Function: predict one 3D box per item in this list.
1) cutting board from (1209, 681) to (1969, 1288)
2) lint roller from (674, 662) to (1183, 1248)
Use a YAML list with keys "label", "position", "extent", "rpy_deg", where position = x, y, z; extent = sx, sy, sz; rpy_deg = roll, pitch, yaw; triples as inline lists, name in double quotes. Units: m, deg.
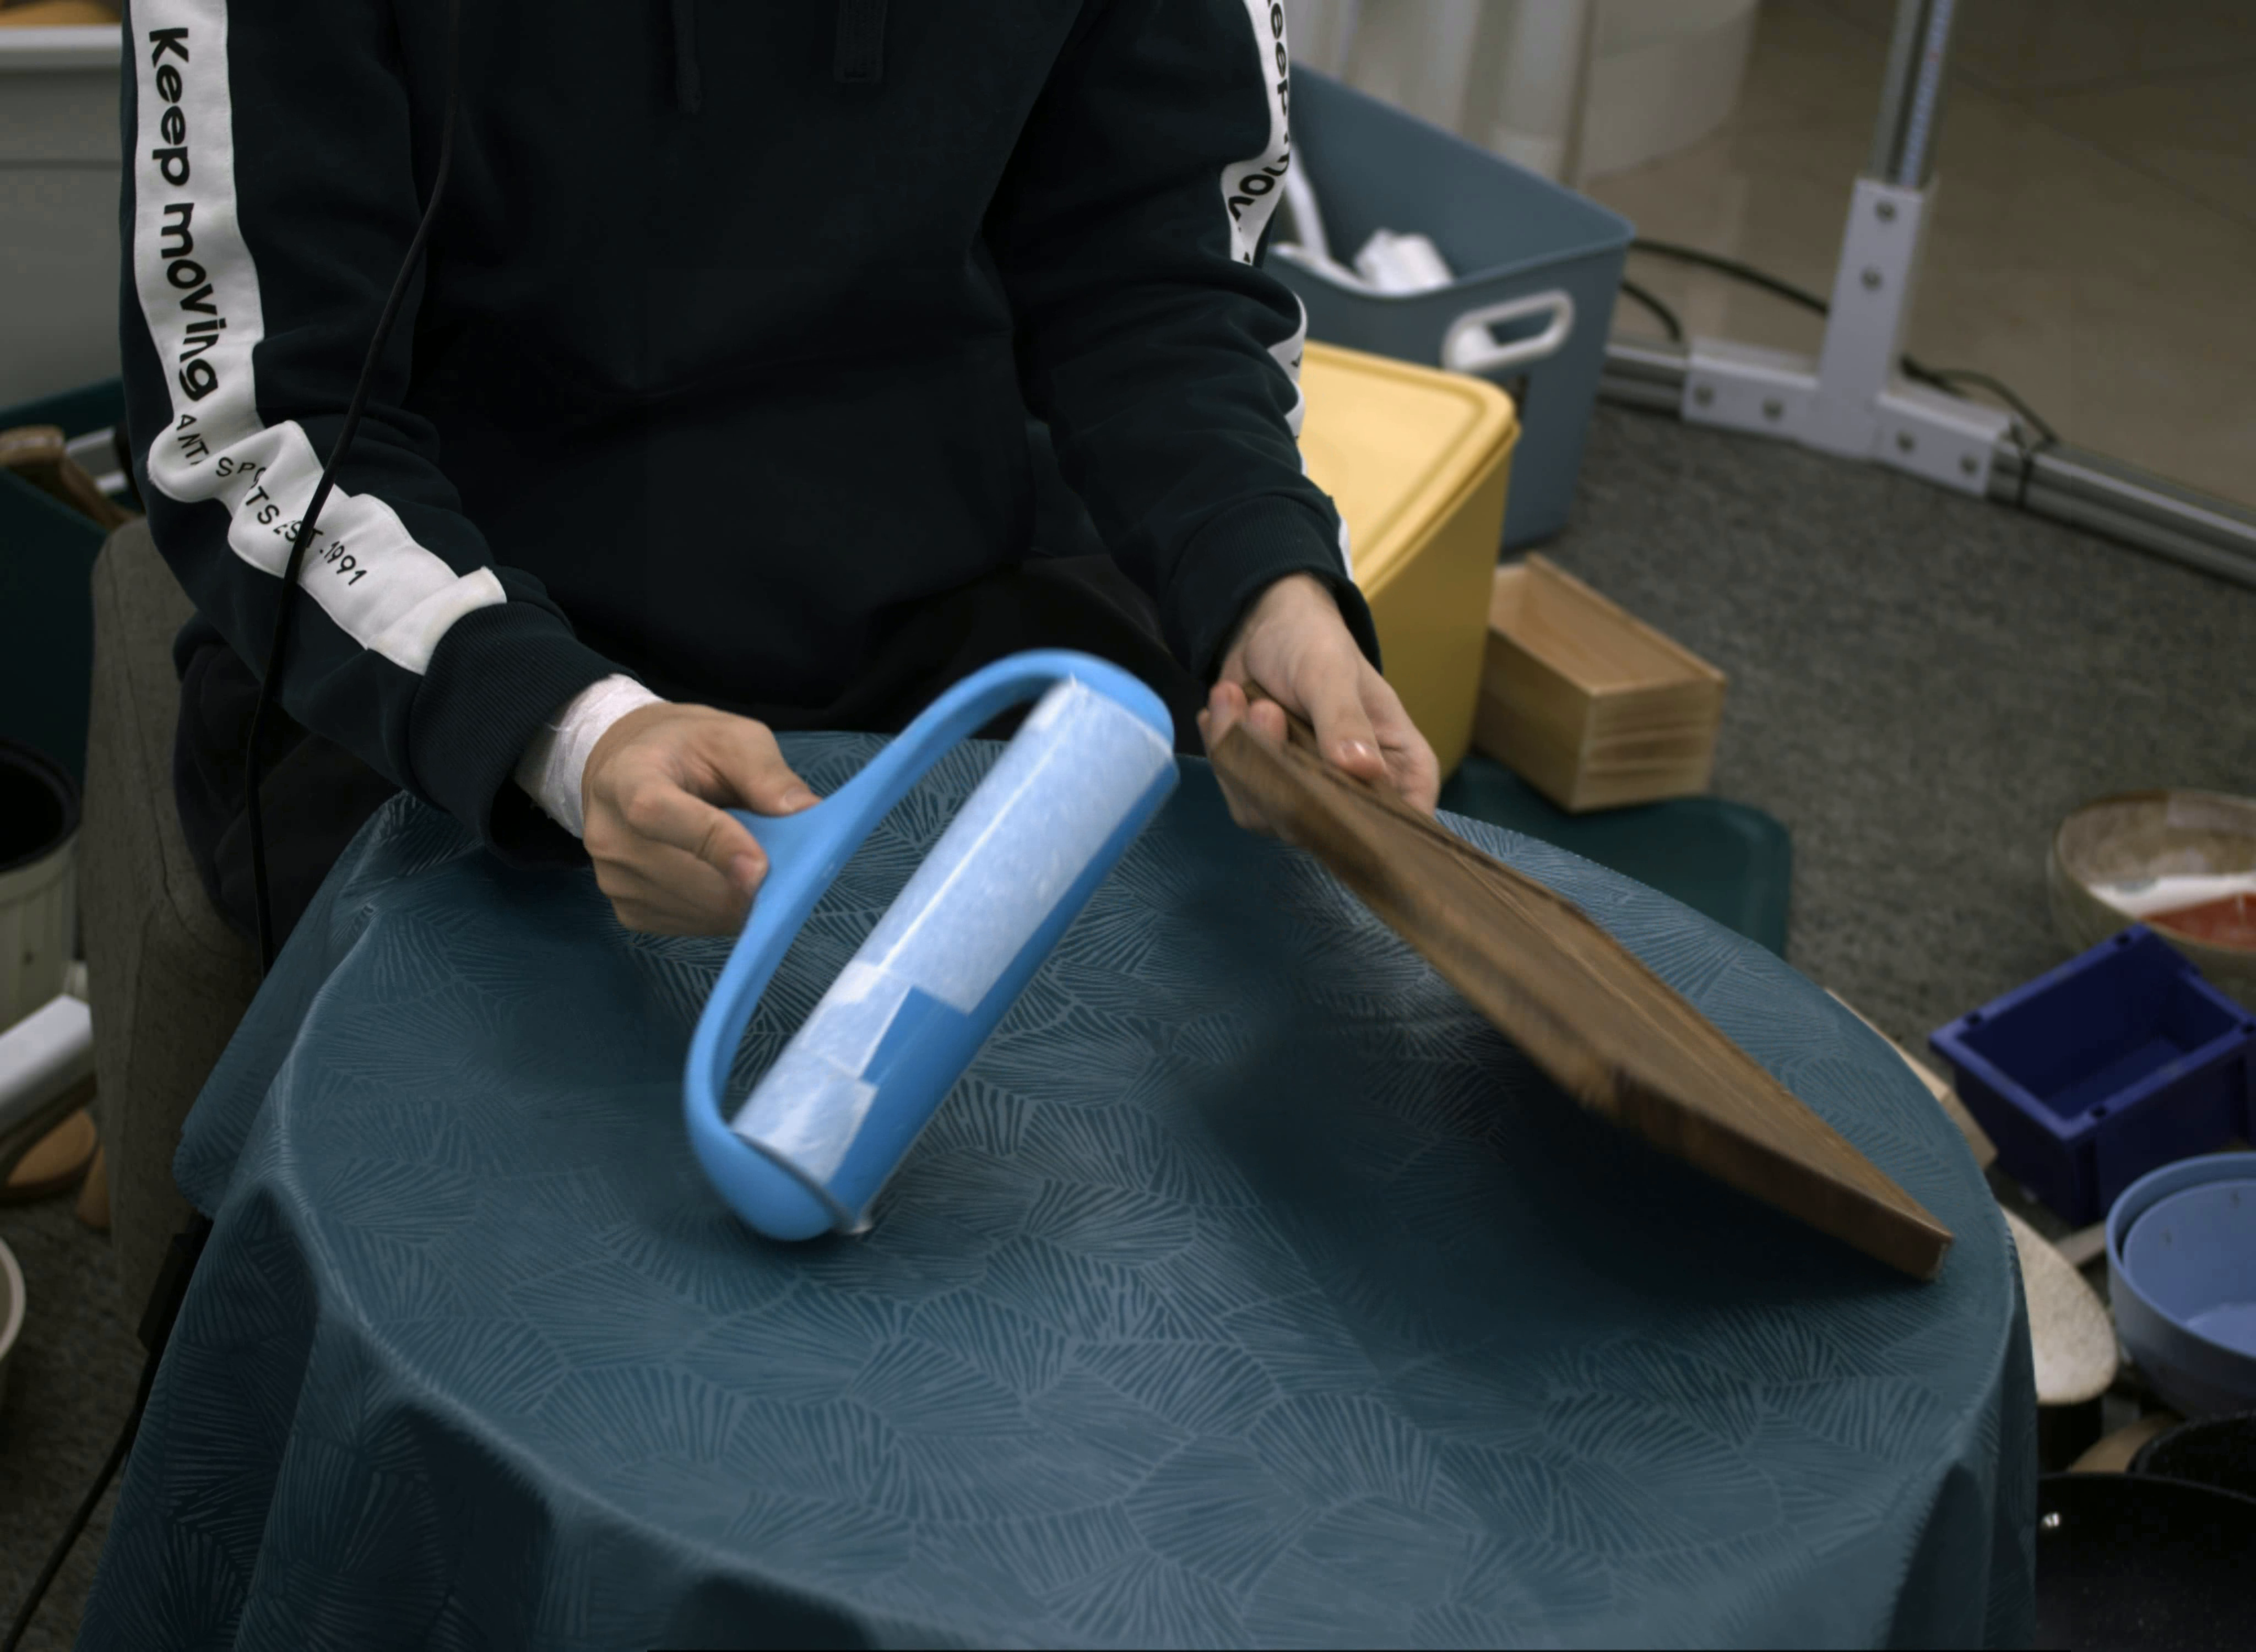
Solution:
- label: "cutting board"
  position: [0.132, 0.038, 1.862]
  extent: [0.199, 0.023, 0.355]
  rpy_deg: [26, 12, -41]
- label: "lint roller"
  position: [-0.102, 0.028, 1.803]
  extent: [0.181, 0.067, 0.229]
  rpy_deg: [20, 67, 39]
